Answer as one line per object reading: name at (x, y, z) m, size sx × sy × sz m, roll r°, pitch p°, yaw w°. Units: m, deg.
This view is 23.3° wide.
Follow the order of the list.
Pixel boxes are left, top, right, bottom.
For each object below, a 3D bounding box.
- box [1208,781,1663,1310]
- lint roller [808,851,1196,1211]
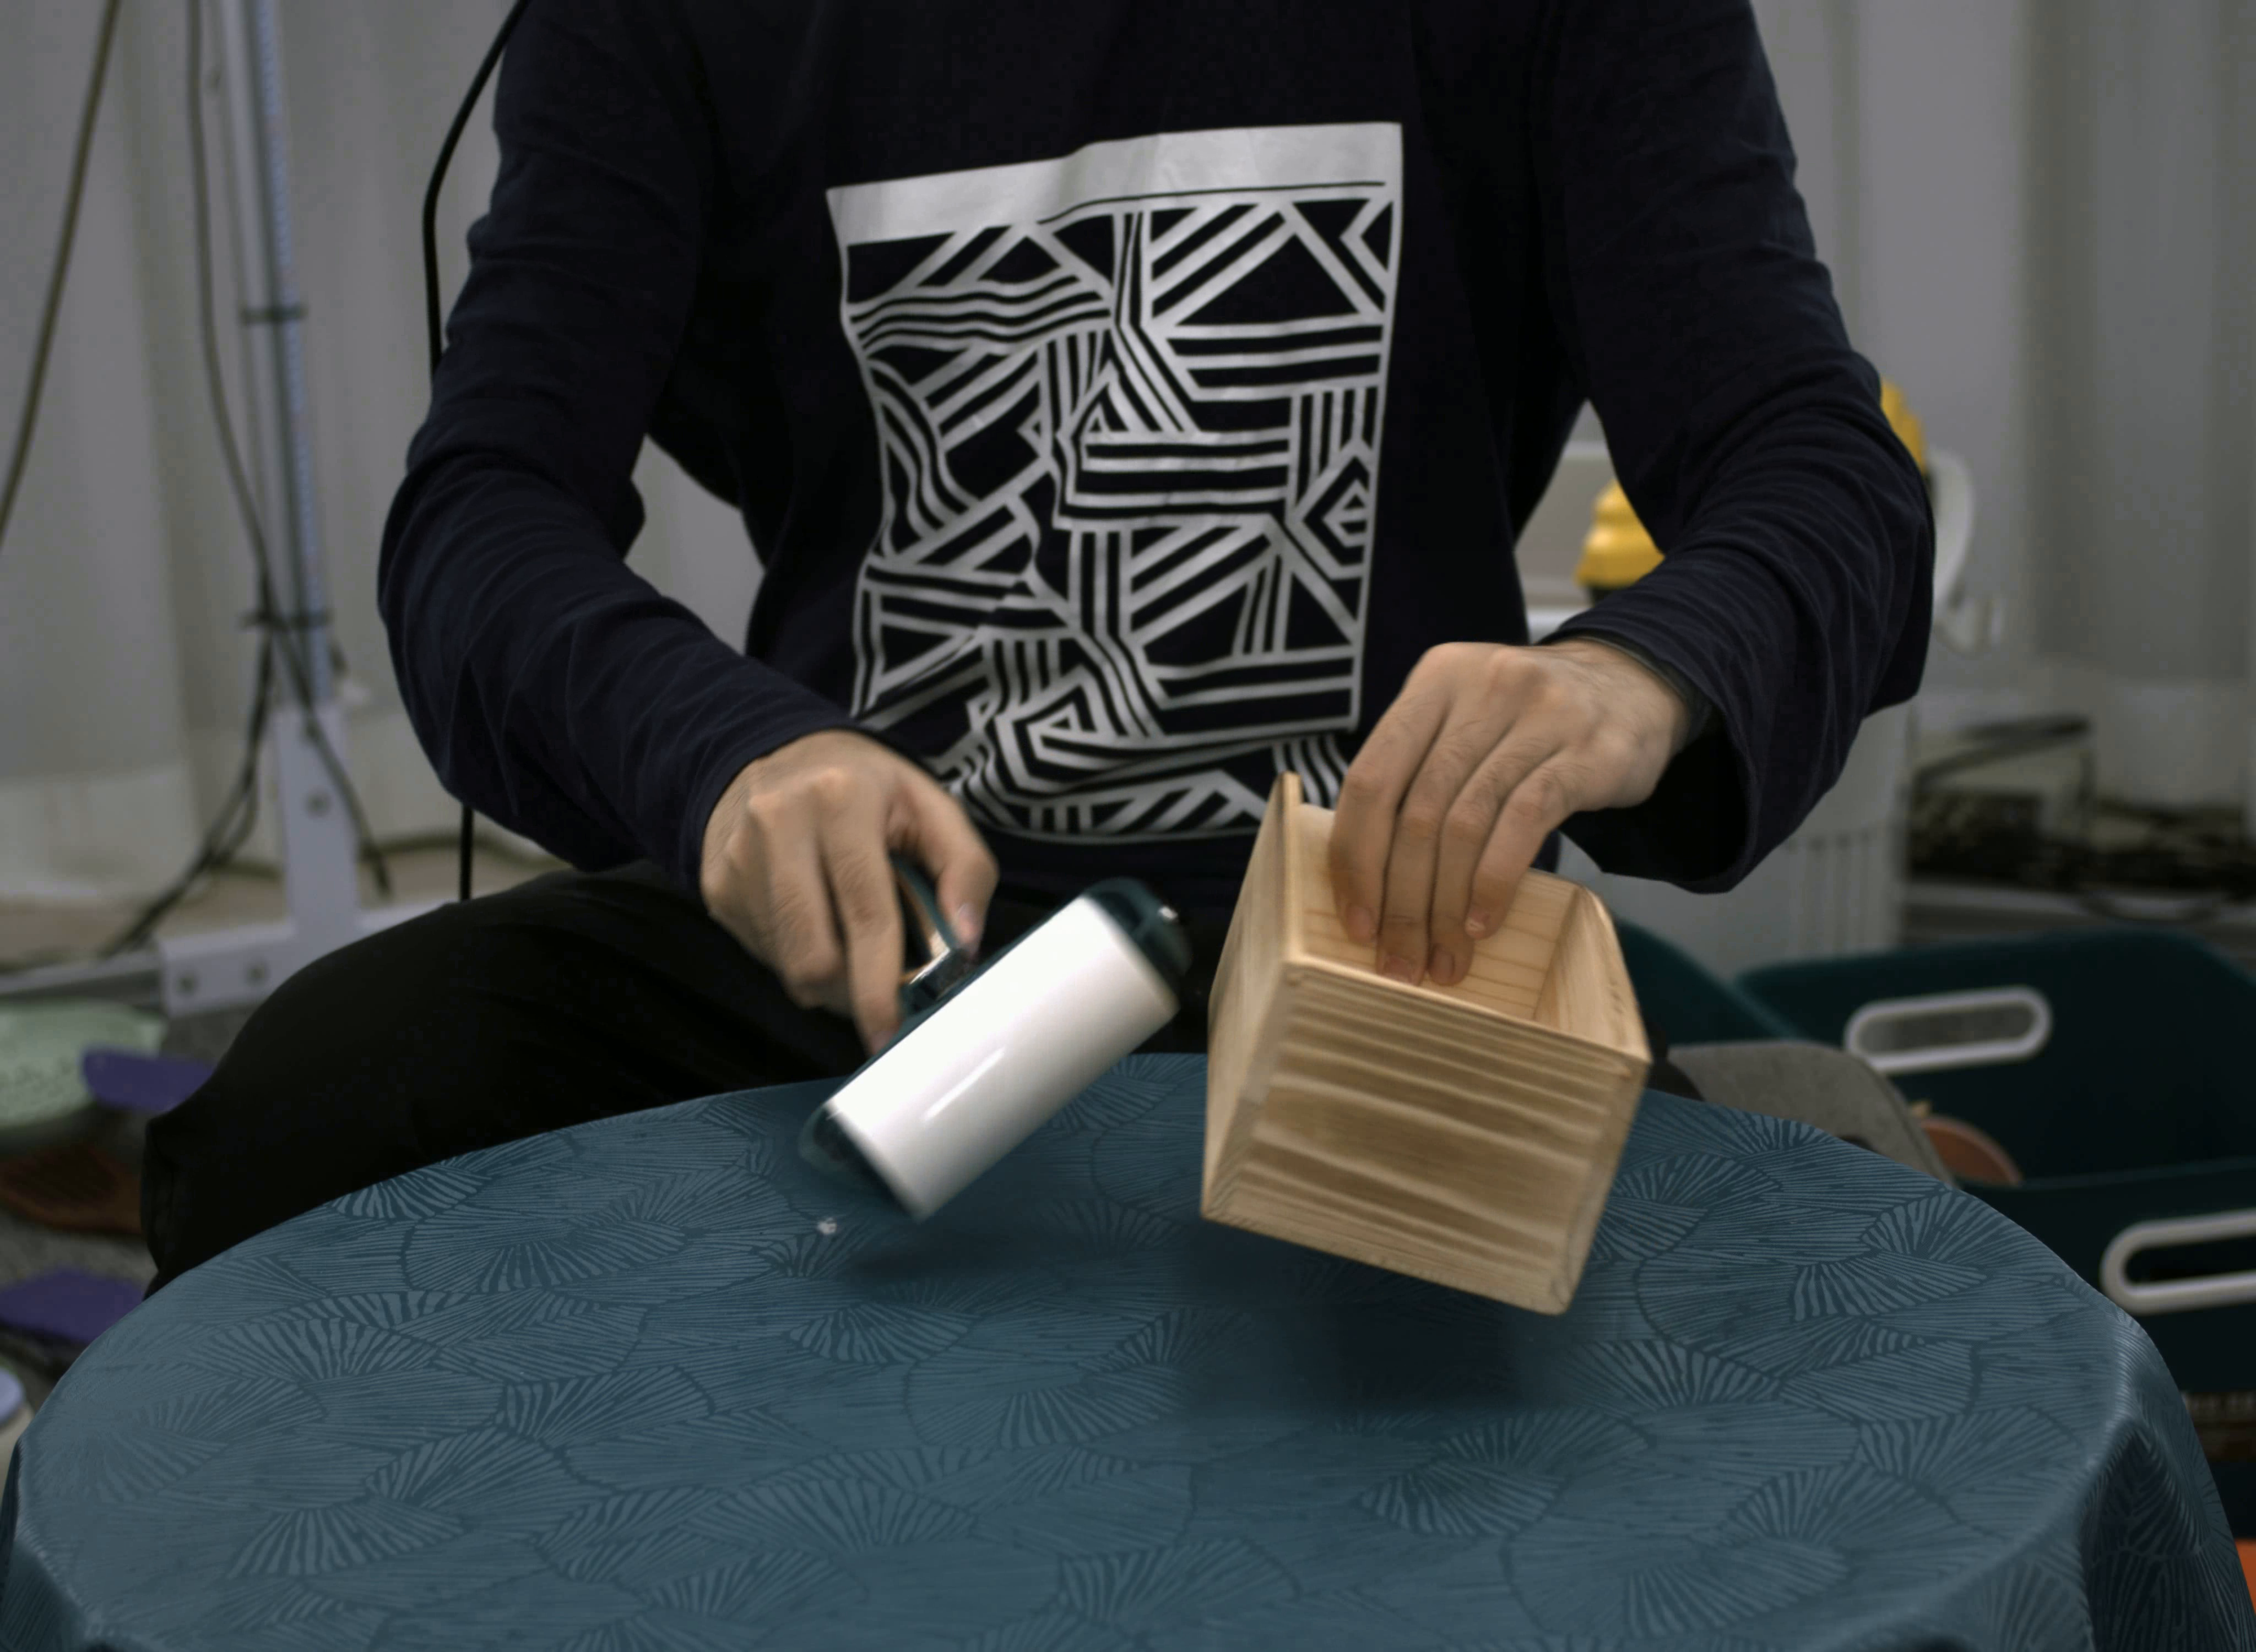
box at (0.085, 0.060, 1.593) m, size 0.107 × 0.080 × 0.212 m, roll 16°, pitch 13°, yaw -4°
lint roller at (-0.065, 0.038, 1.713) m, size 0.134 × 0.048 × 0.182 m, roll -40°, pitch 38°, yaw -6°
